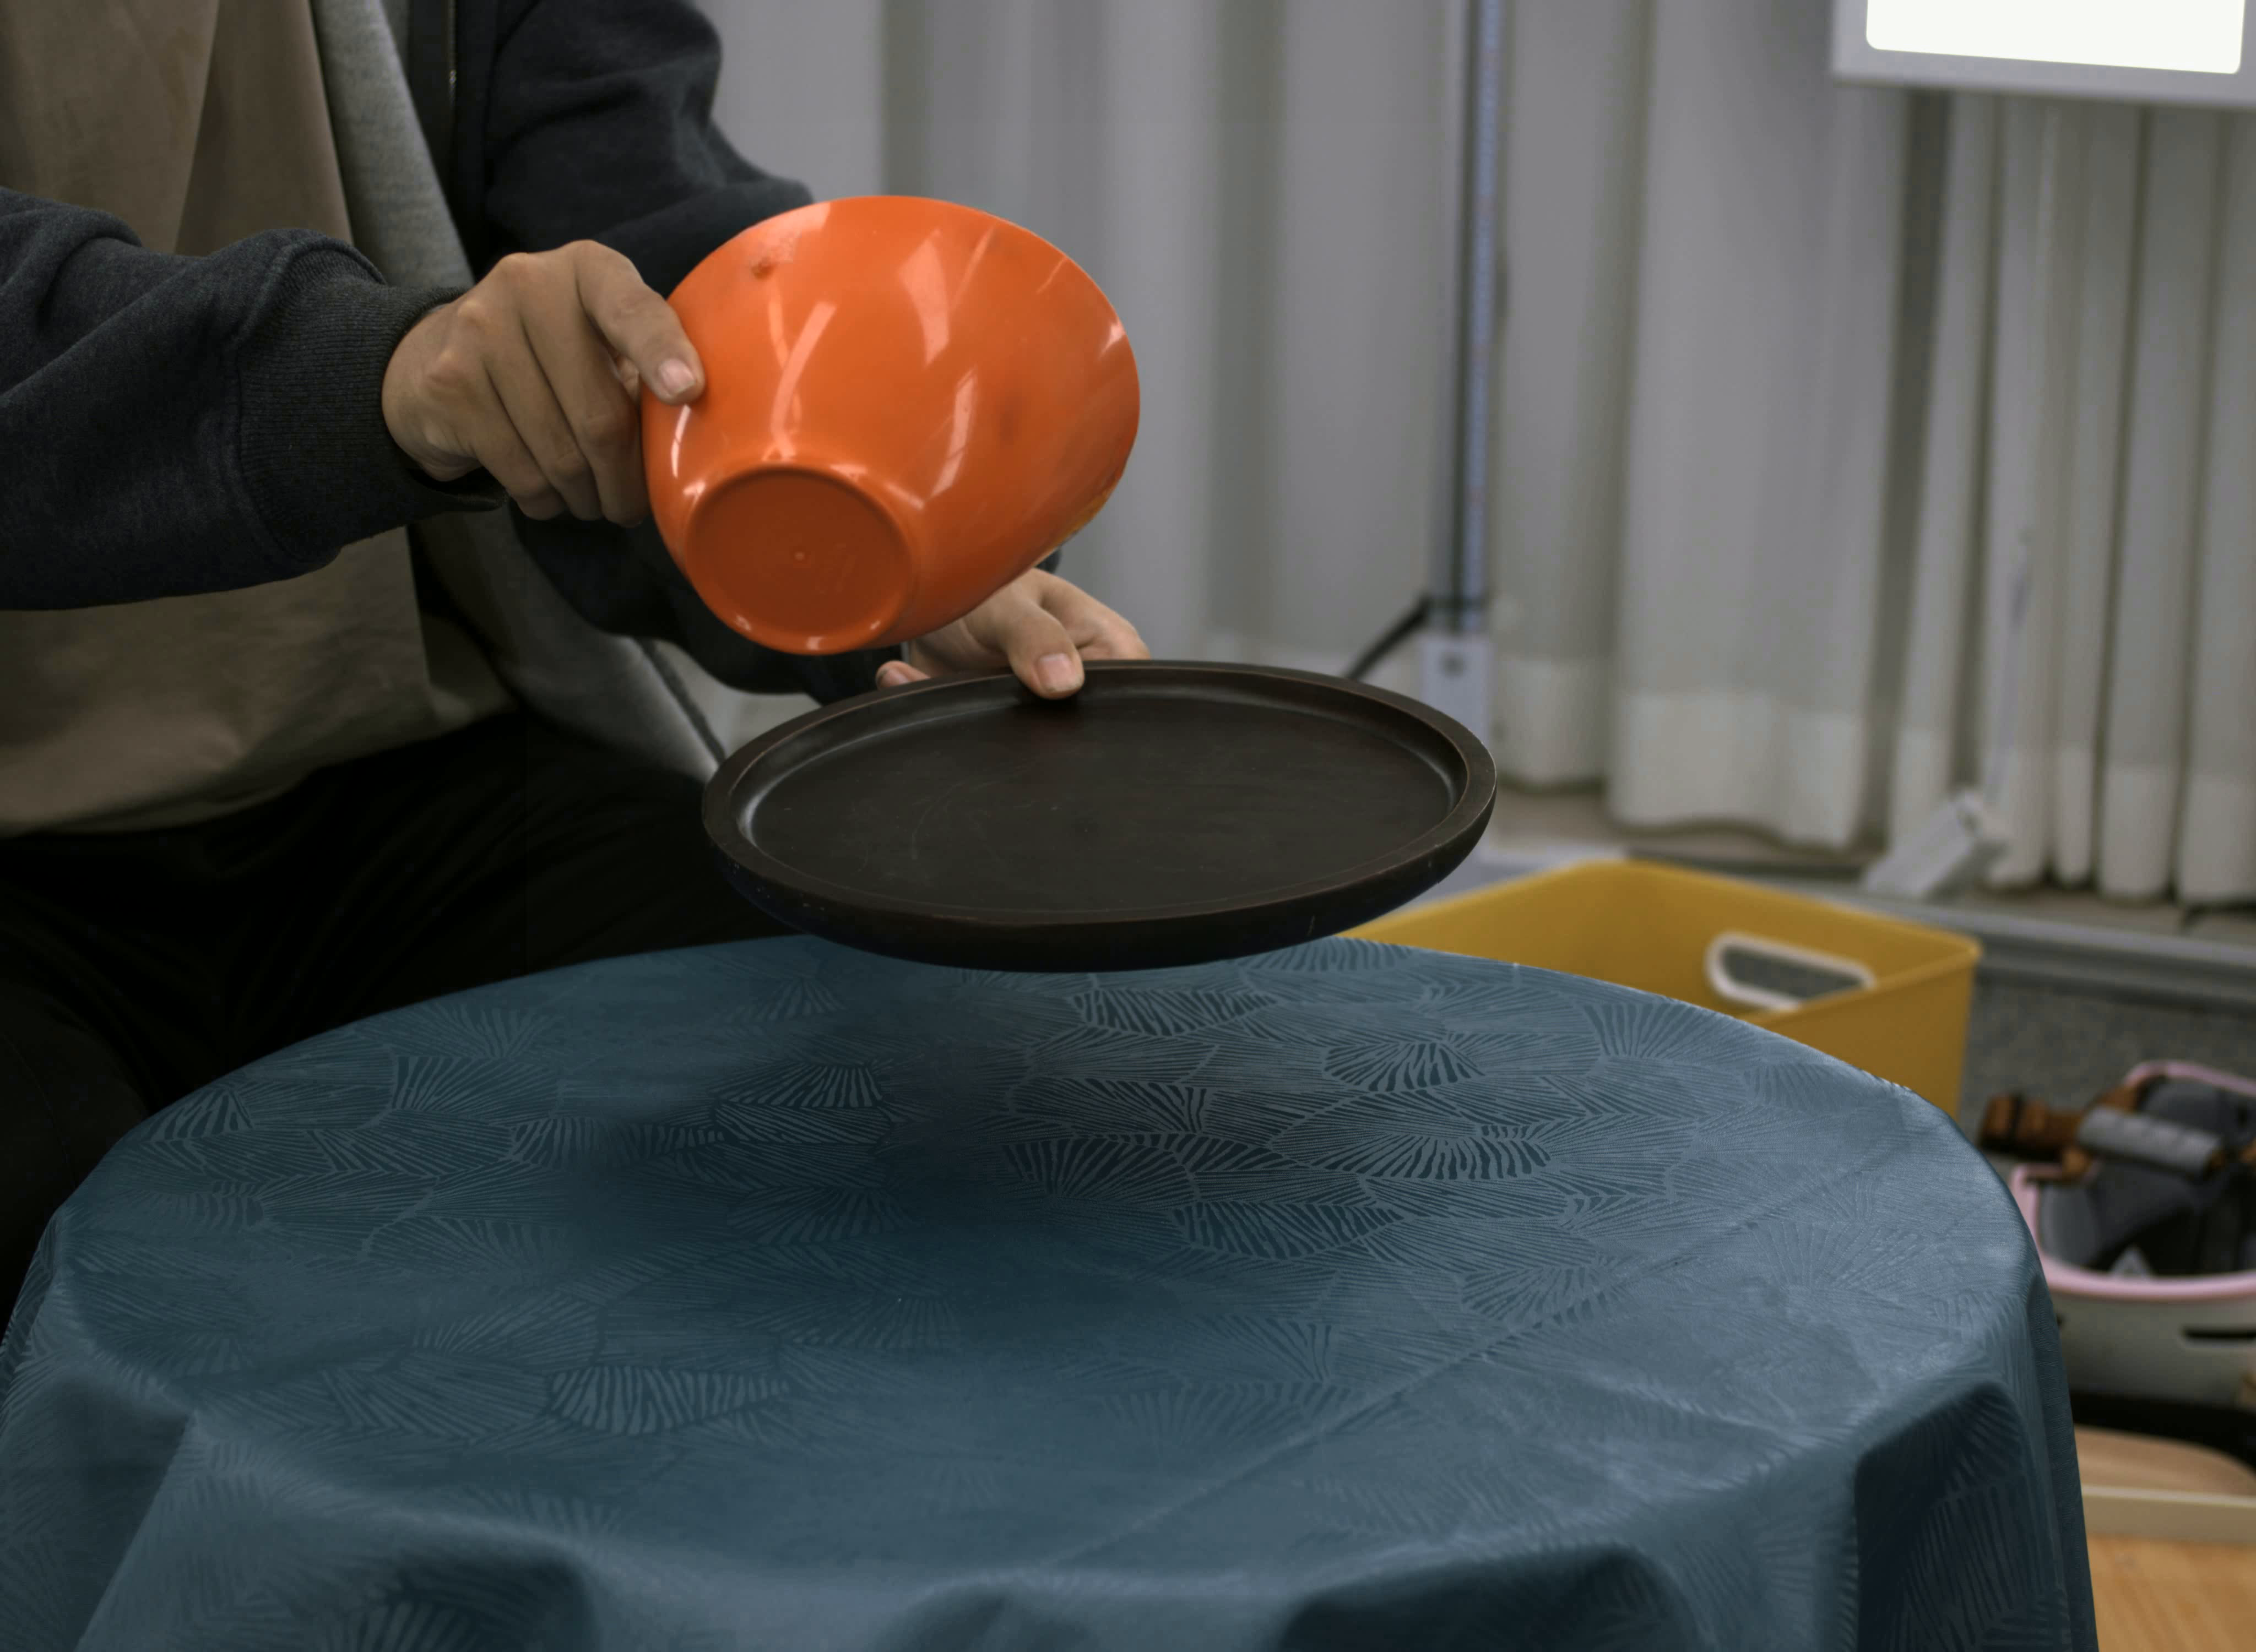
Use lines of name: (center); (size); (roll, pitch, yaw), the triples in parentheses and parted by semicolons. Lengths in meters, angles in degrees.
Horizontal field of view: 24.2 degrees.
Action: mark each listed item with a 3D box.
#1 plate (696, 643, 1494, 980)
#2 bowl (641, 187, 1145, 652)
plate: (-0.010, -0.005, 1.663); (0.254, 0.029, 0.253); (-2, 21, 1)
bowl: (-0.075, -0.102, 1.520); (0.147, 0.150, 0.104); (3, 39, 9)
